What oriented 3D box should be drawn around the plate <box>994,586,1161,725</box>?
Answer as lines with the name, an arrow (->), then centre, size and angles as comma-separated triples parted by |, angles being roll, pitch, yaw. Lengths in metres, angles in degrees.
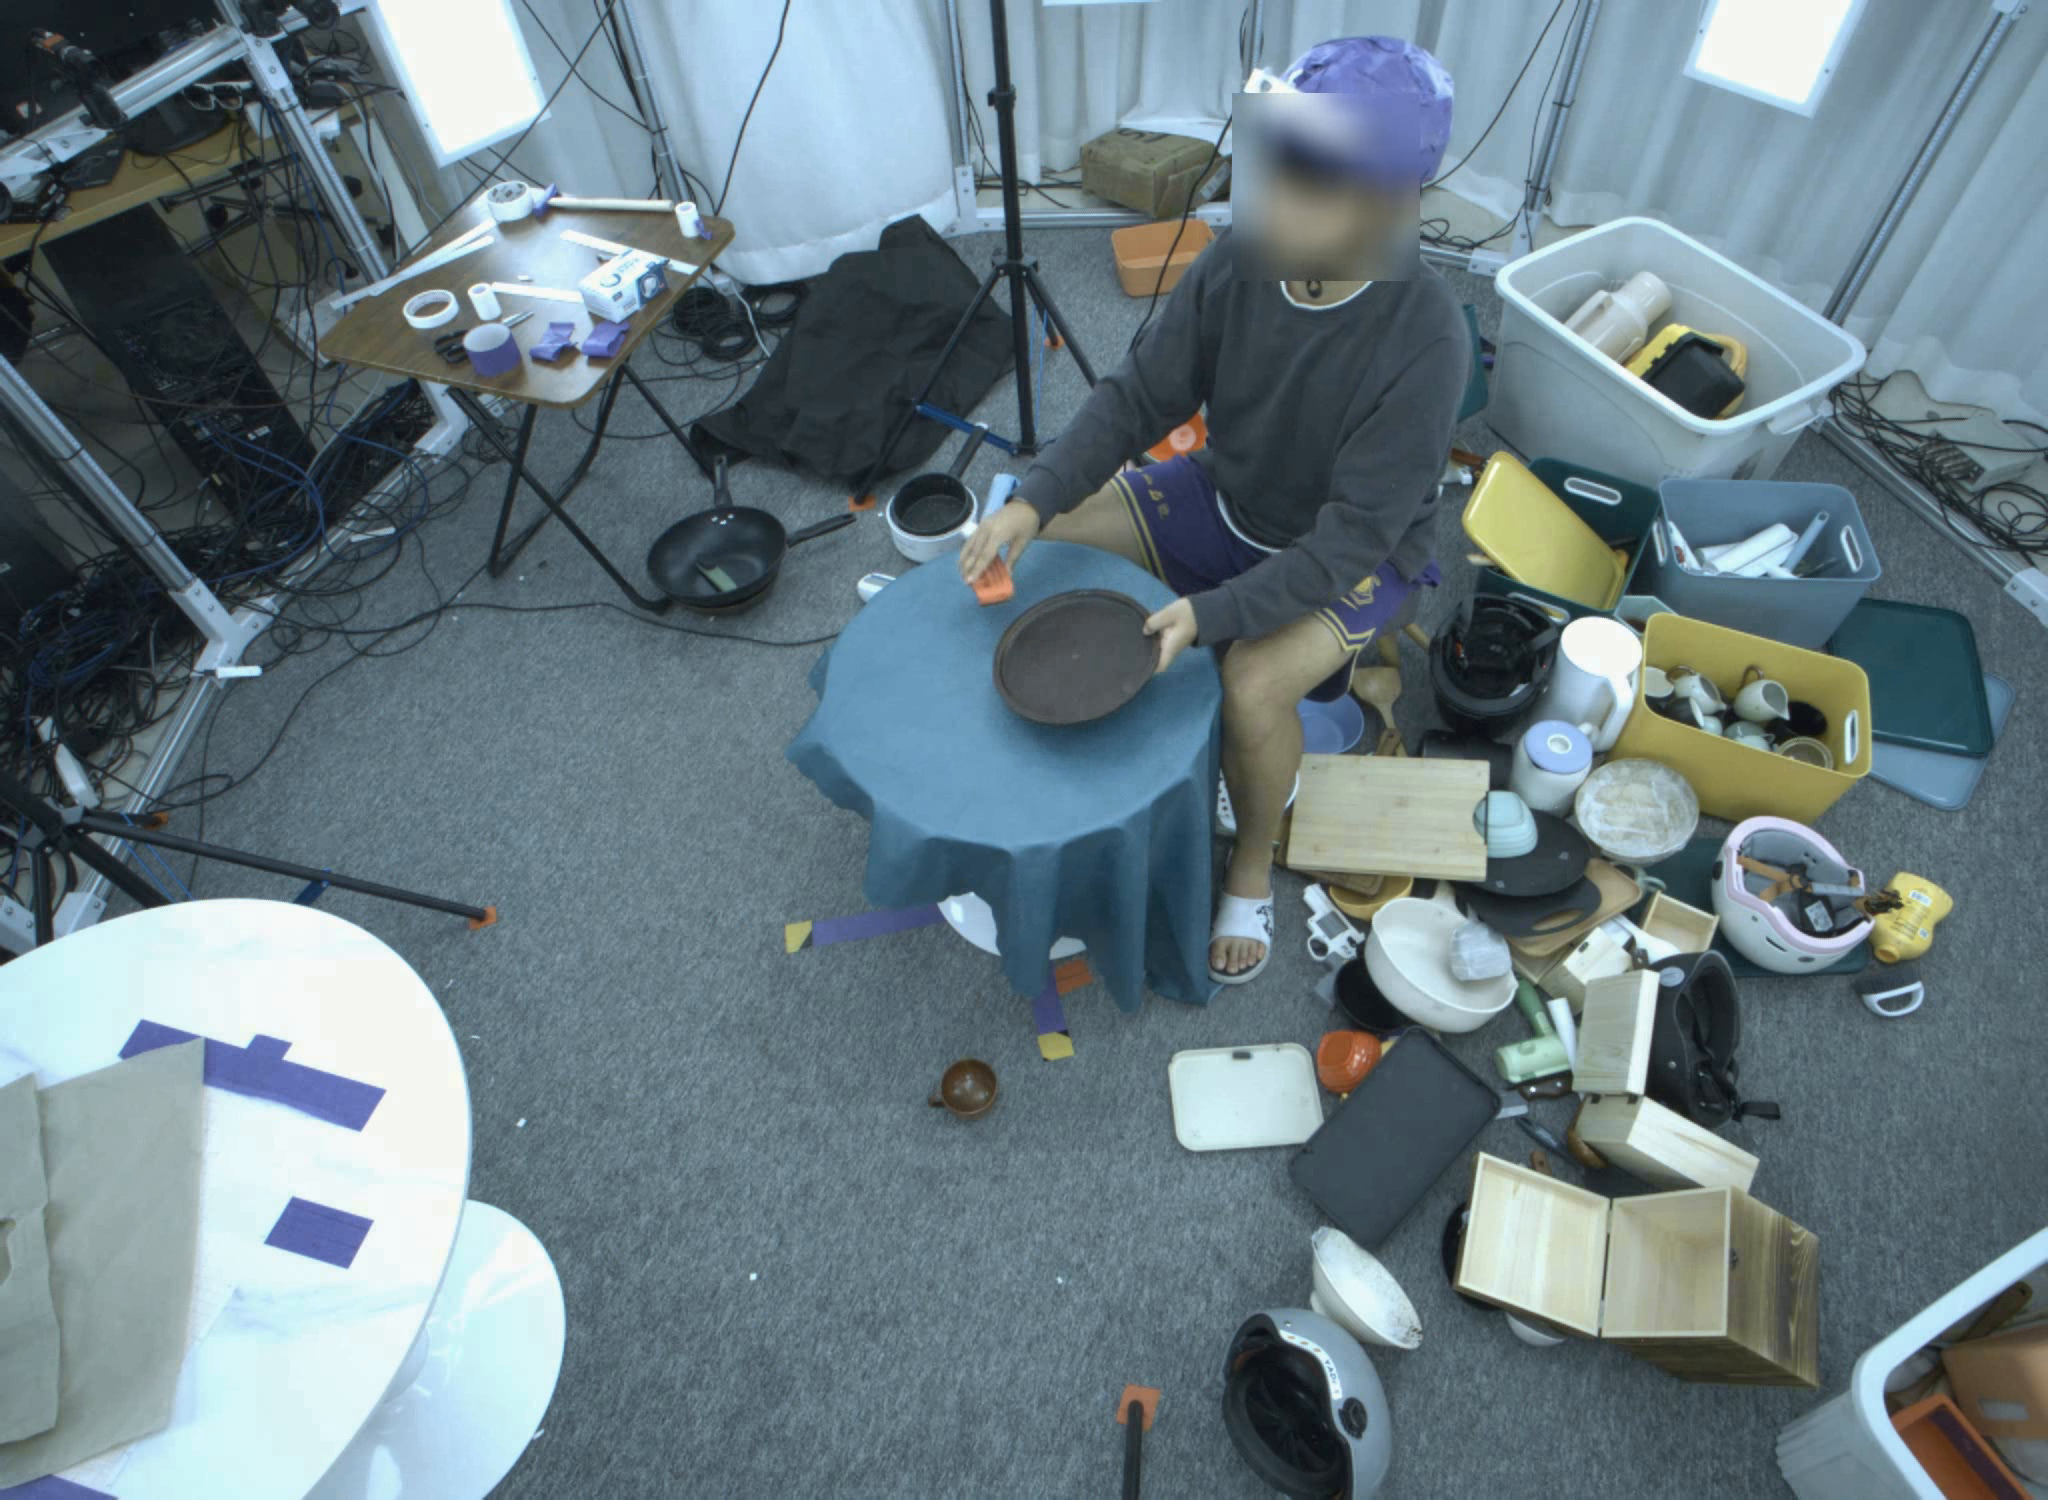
plate -> 0.078, -0.140, 1.809 | 0.253, 0.029, 0.252 | -8, 53, 12

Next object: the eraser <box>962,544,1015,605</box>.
eraser -> -0.055, -0.271, 1.891 | 0.059, 0.023, 0.106 | -19, 51, -5
